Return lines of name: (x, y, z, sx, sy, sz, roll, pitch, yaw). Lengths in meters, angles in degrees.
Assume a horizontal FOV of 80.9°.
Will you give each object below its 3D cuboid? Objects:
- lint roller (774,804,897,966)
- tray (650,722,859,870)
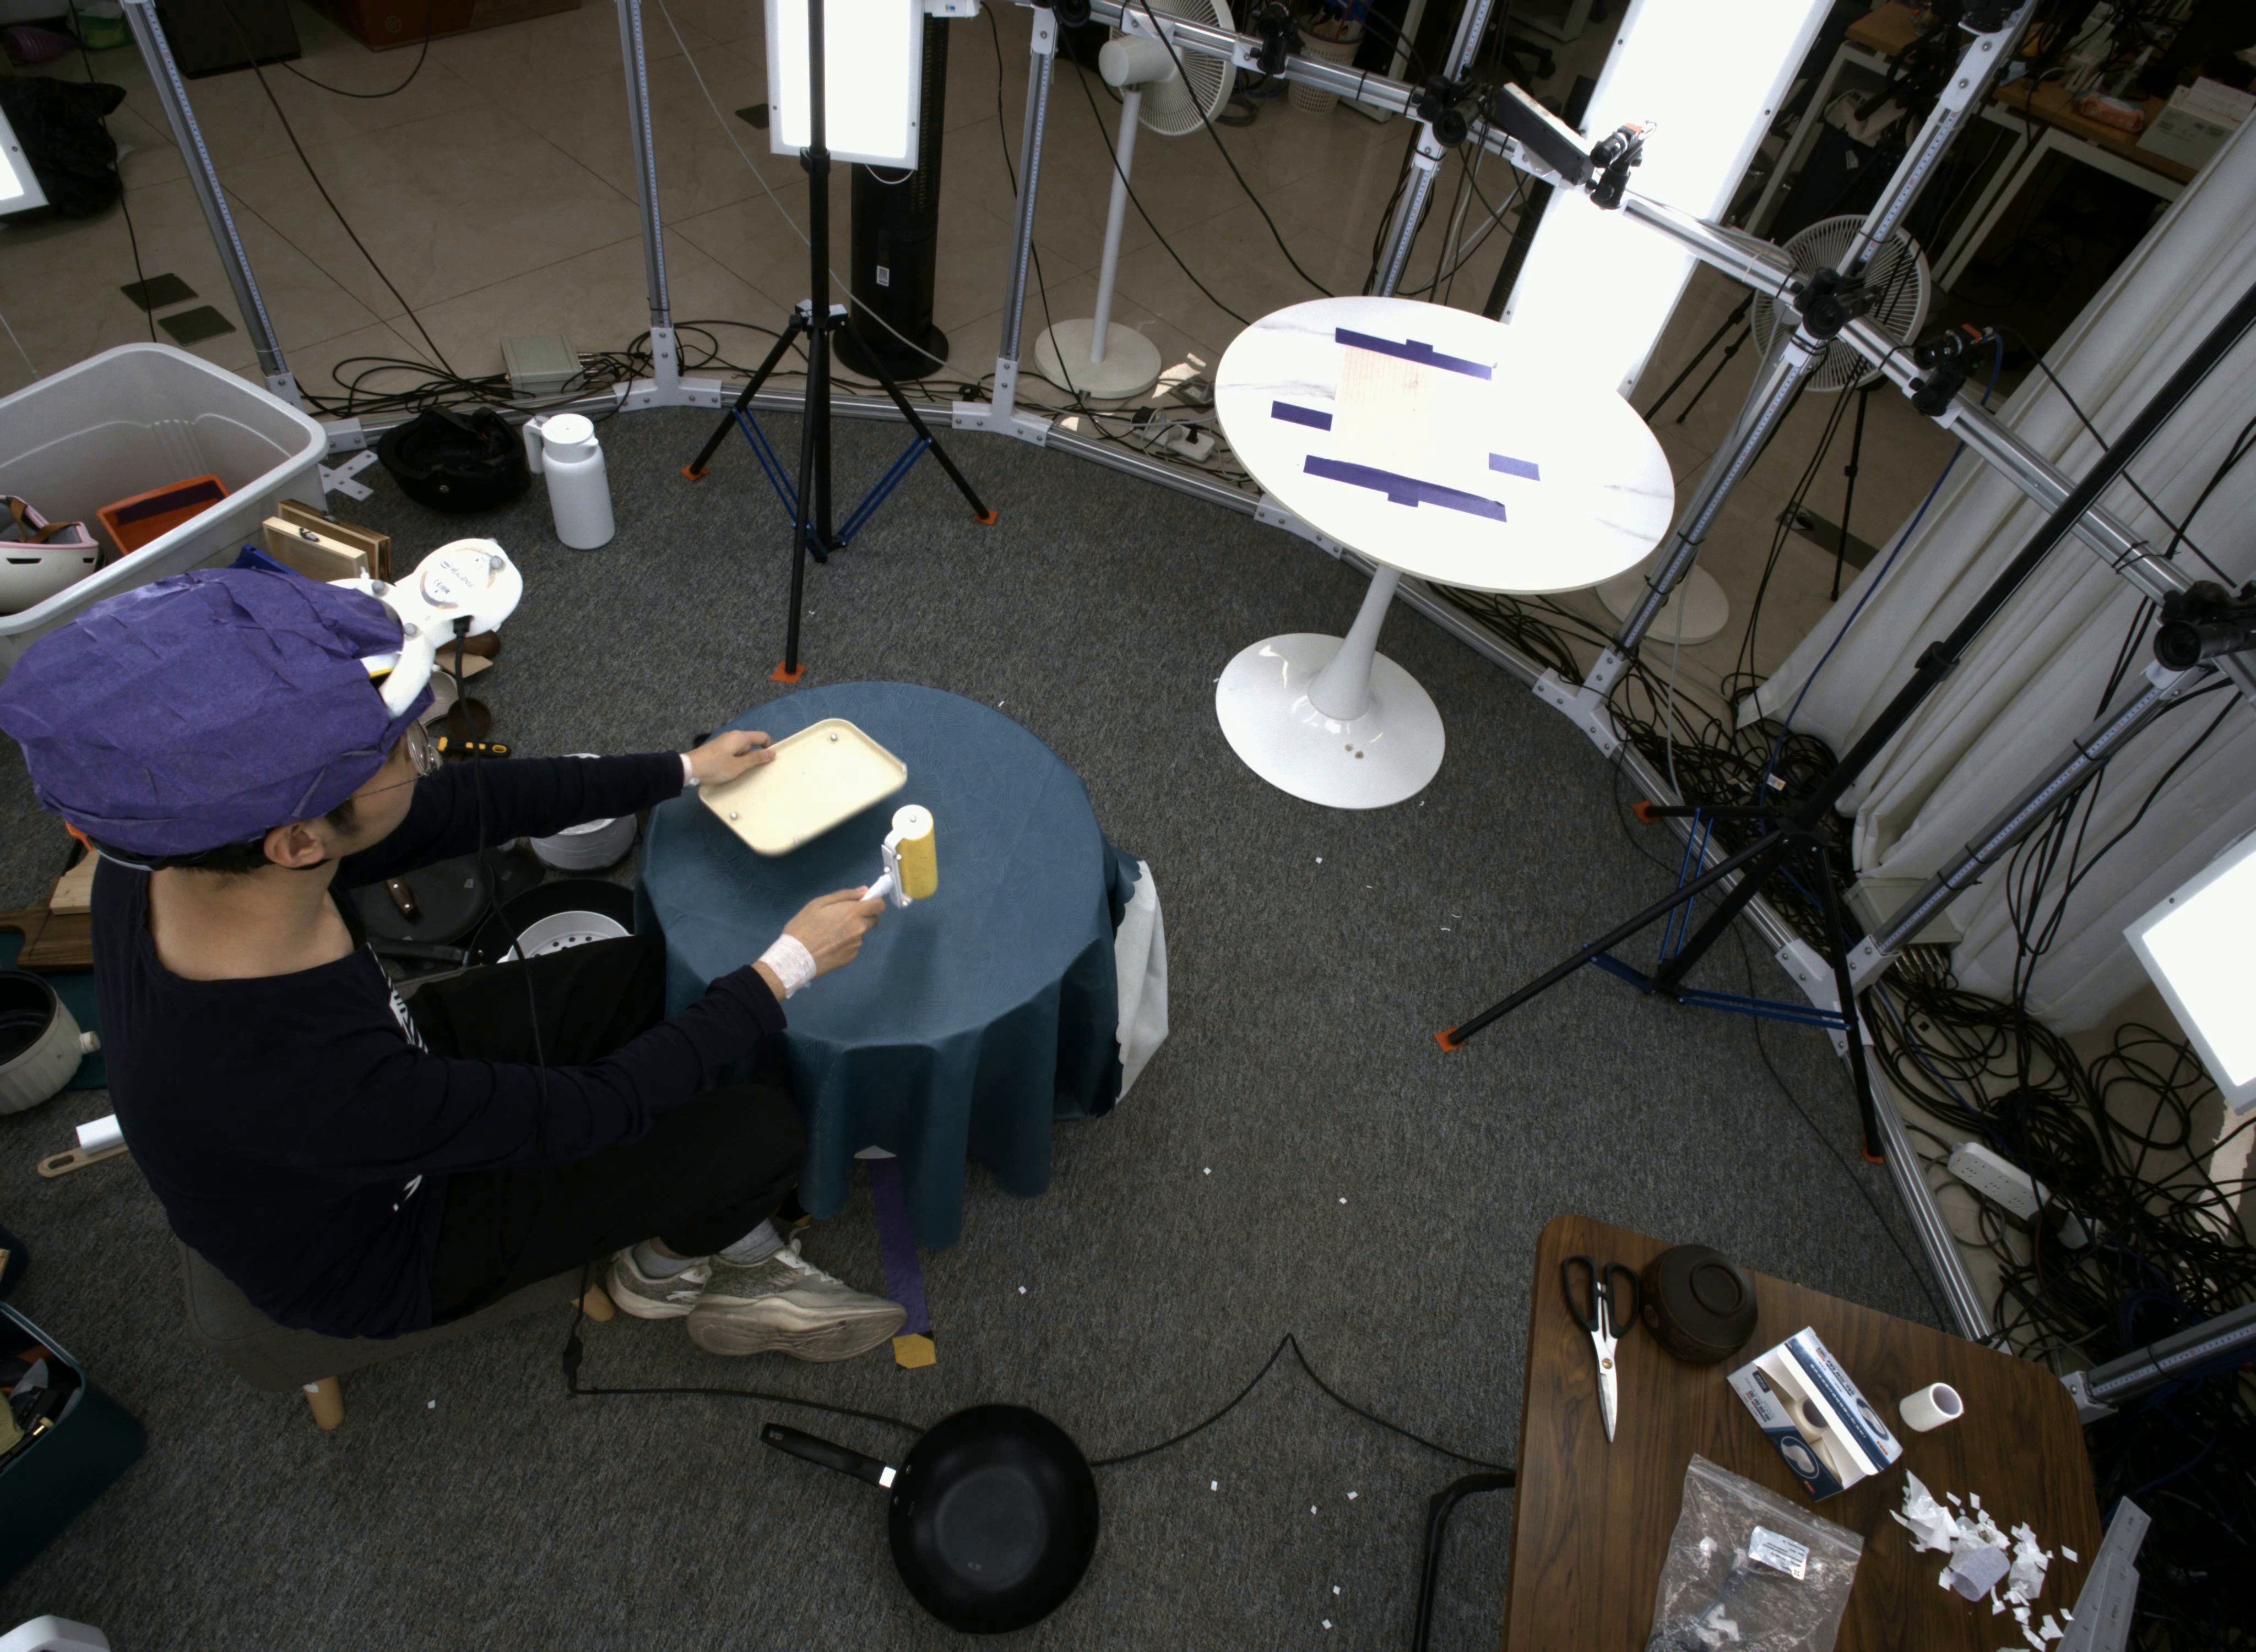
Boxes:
lint roller: (-0.343, 0.090, 1.527, 0.050, 0.178, 0.191, 24, 63, 10)
tray: (-0.482, -0.042, 1.675, 0.167, 0.018, 0.240, 38, 51, 19)
